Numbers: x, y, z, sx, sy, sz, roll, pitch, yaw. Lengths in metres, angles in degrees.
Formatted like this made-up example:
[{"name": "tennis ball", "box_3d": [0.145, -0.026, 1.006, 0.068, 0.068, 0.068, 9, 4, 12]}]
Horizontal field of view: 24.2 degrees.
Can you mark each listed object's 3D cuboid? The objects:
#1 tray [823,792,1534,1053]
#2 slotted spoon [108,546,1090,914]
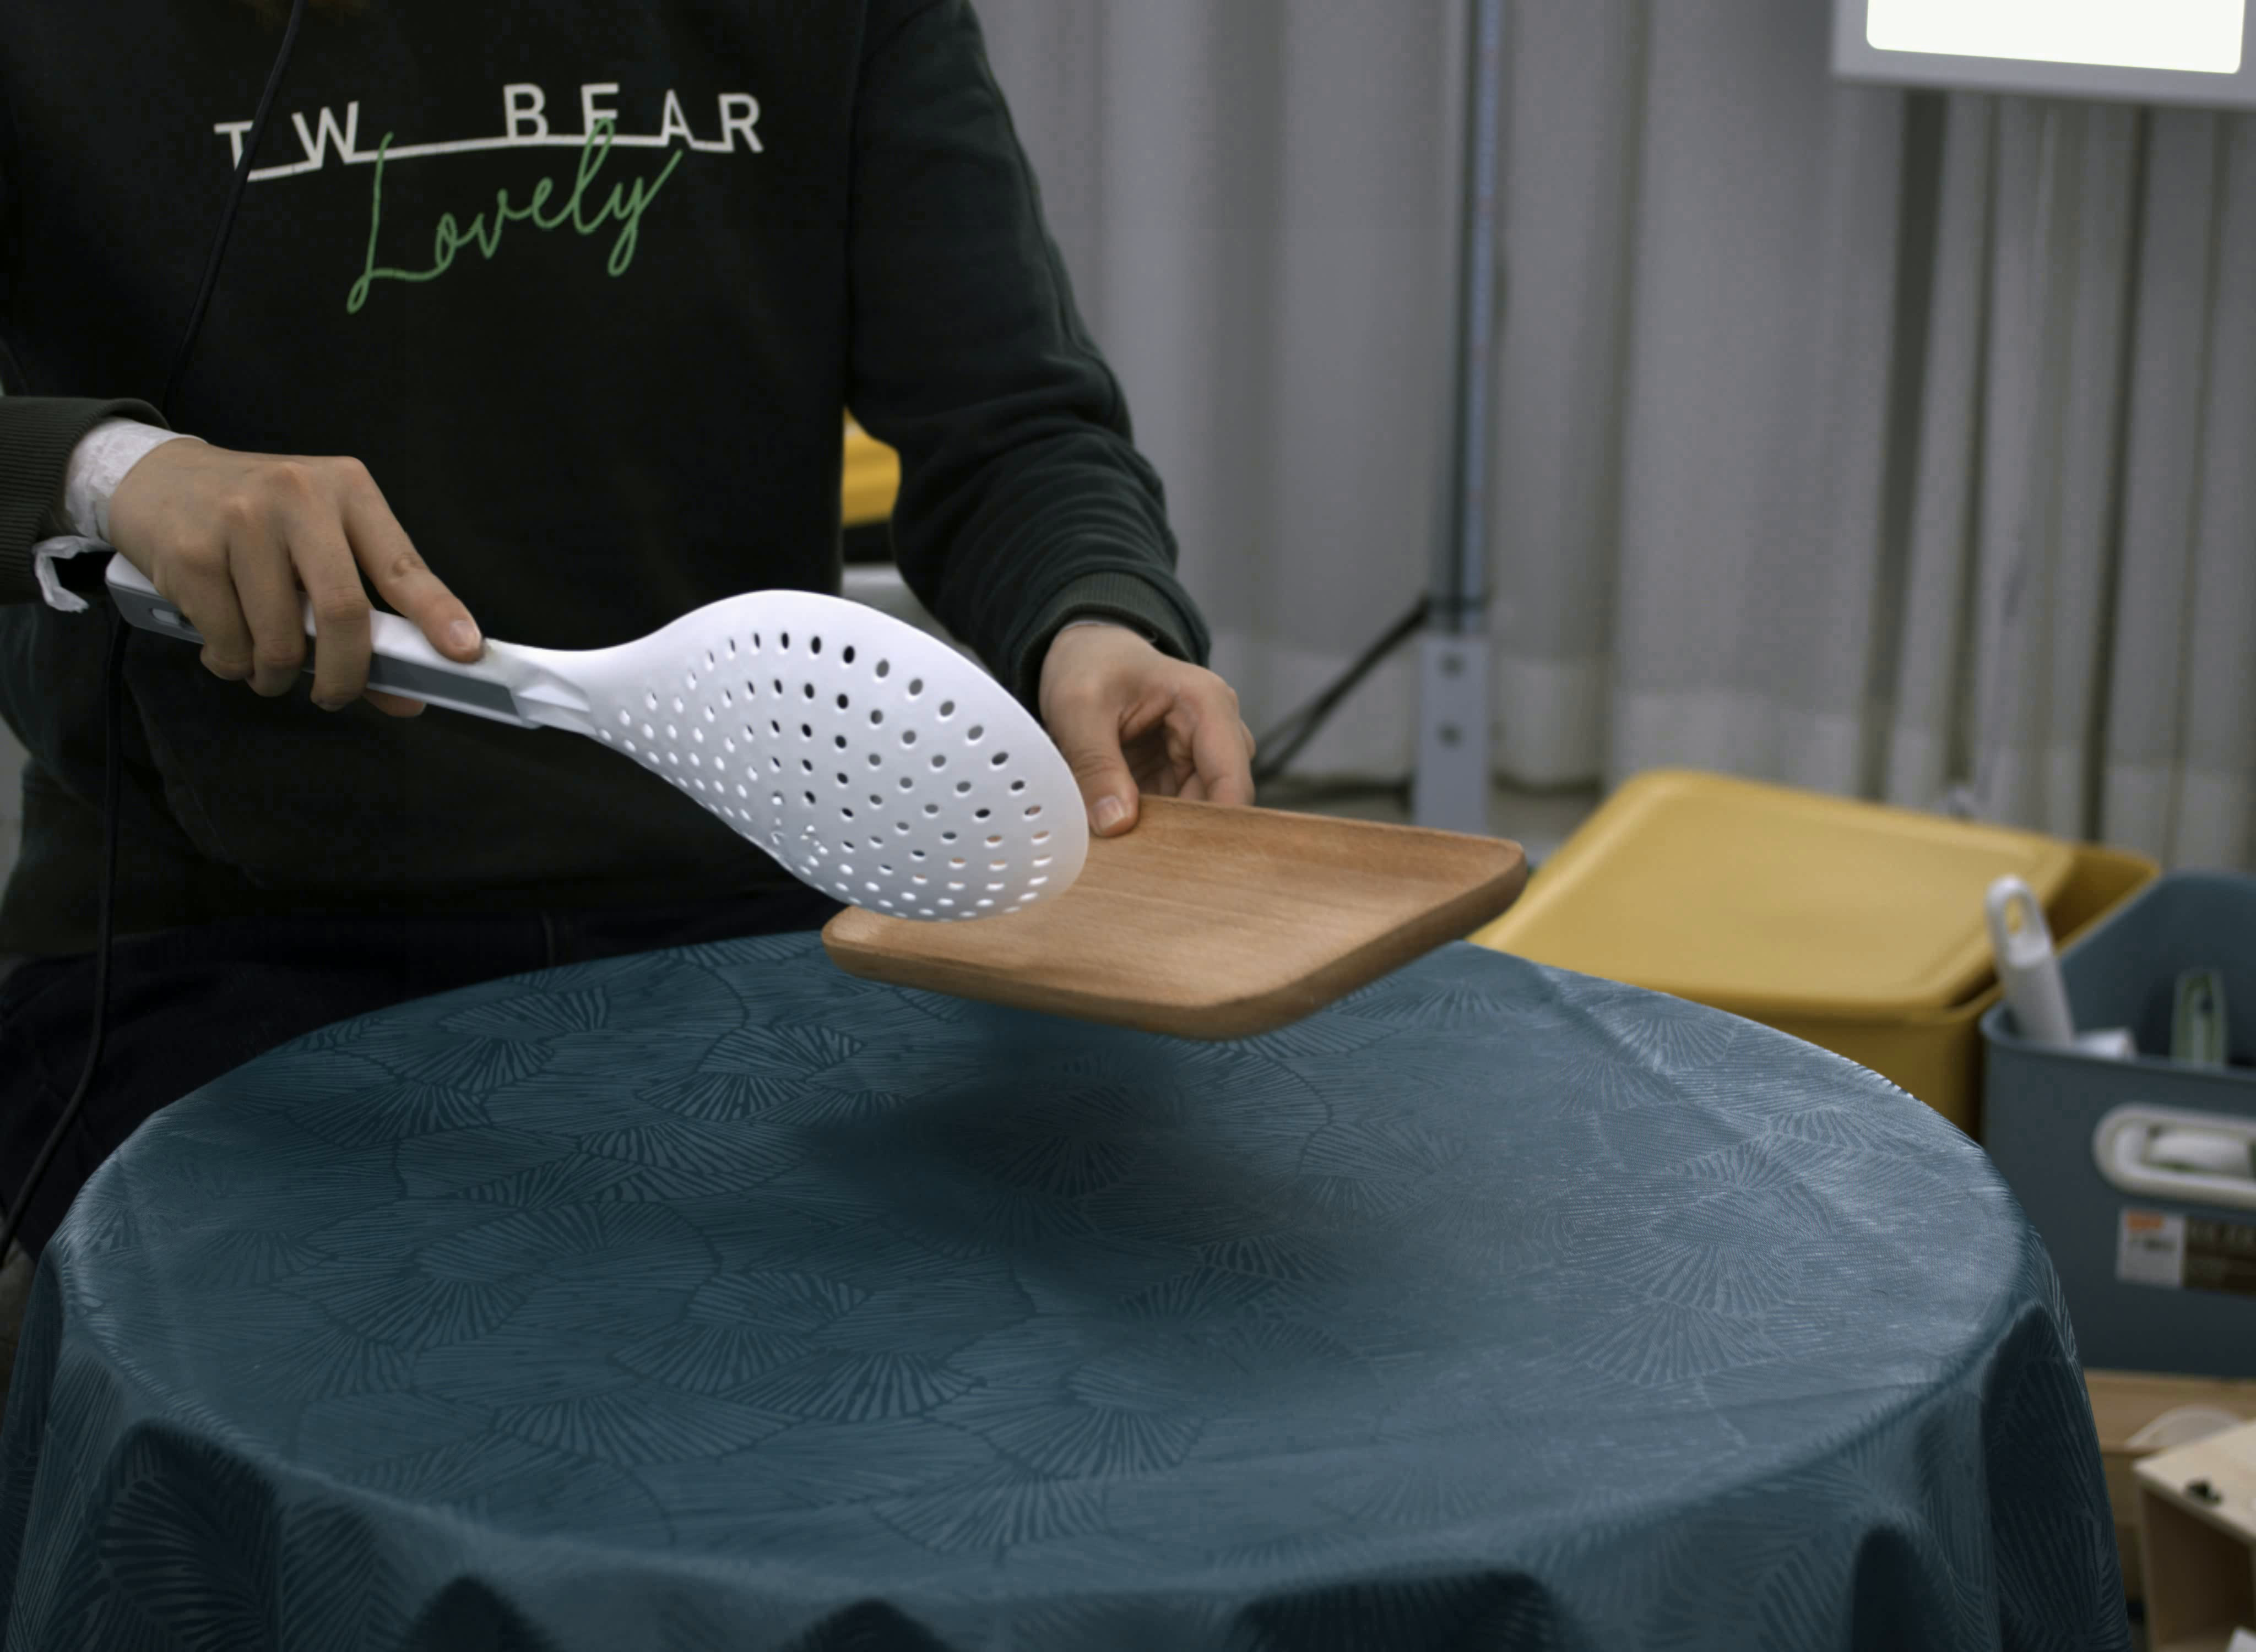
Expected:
[{"name": "tray", "box_3d": [0.012, 0.028, 1.614, 0.131, 0.023, 0.248, -24, 16, -29]}, {"name": "slotted spoon", "box_3d": [-0.169, -0.042, 1.605, 0.345, 0.138, 0.045, 18, 55, 28]}]
